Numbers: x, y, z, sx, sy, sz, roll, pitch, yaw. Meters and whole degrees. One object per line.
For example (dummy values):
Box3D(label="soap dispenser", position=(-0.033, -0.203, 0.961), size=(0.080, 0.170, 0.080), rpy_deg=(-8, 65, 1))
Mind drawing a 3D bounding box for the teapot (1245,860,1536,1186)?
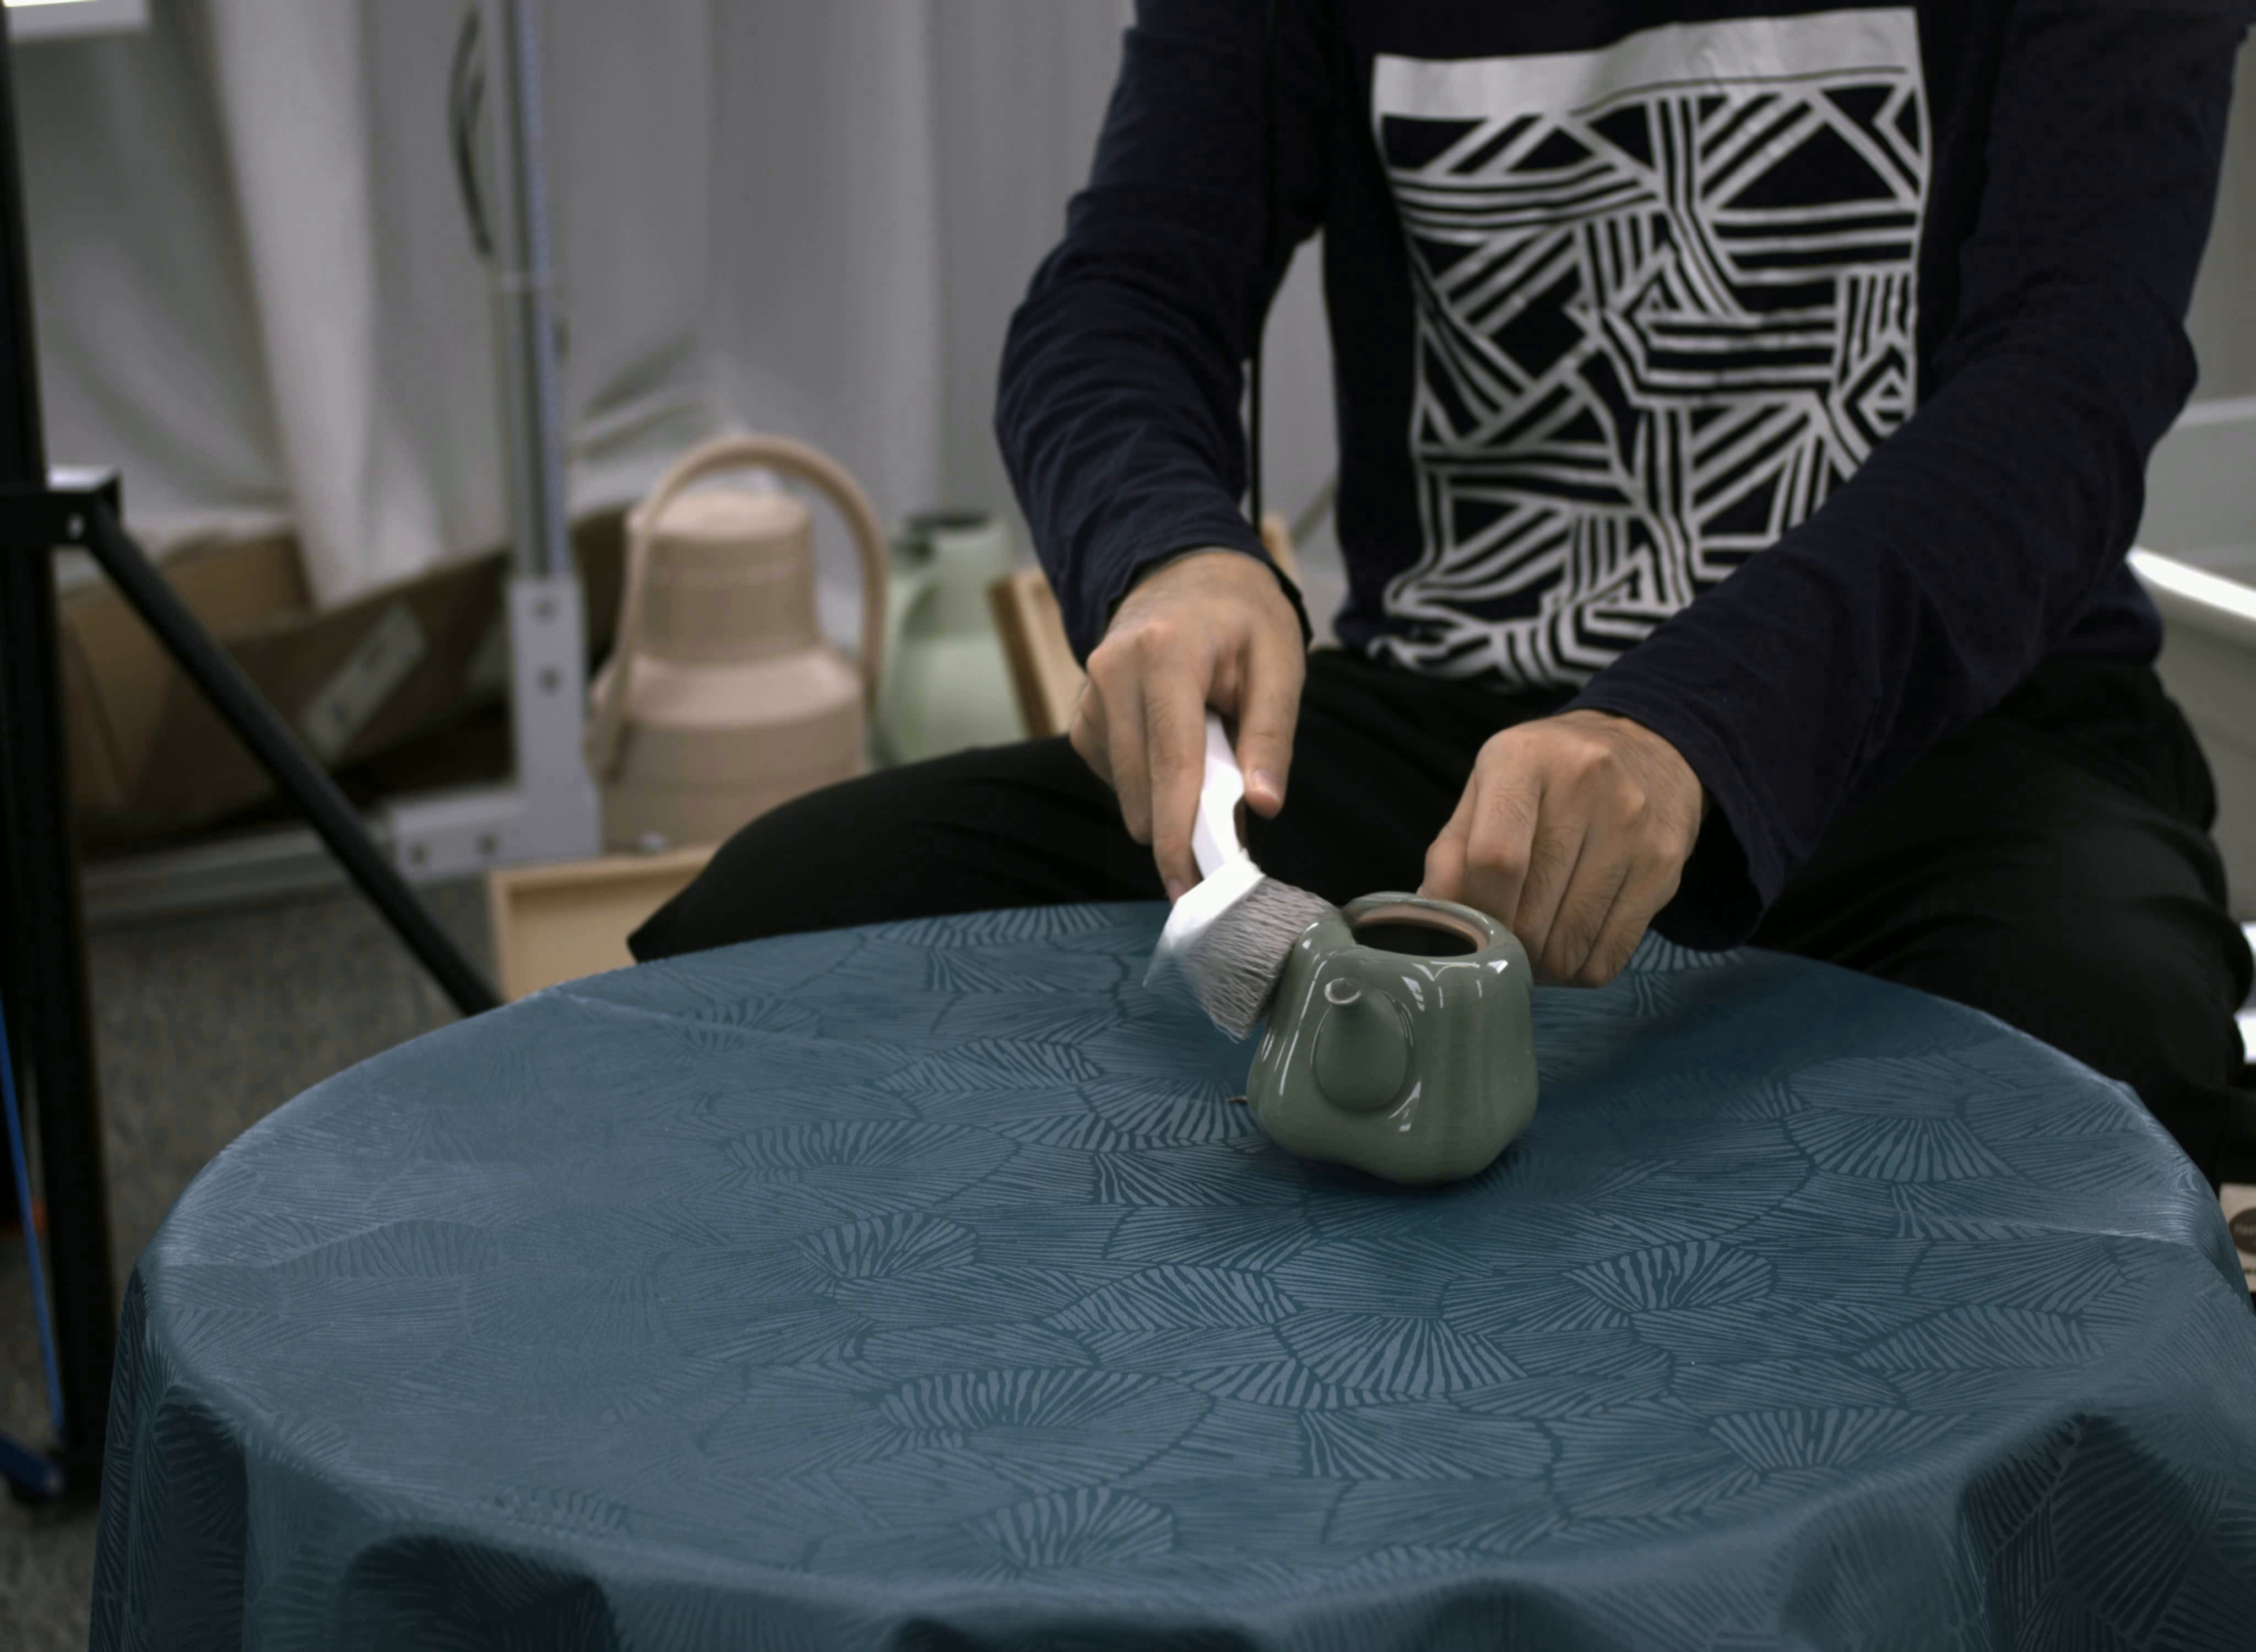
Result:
Box3D(label="teapot", position=(0.081, 0.060, 1.571), size=(0.081, 0.075, 0.130), rpy_deg=(15, 21, 19))

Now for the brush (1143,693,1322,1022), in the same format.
Box3D(label="brush", position=(0.036, 0.006, 1.673), size=(0.050, 0.034, 0.244), rpy_deg=(16, 18, -3))
